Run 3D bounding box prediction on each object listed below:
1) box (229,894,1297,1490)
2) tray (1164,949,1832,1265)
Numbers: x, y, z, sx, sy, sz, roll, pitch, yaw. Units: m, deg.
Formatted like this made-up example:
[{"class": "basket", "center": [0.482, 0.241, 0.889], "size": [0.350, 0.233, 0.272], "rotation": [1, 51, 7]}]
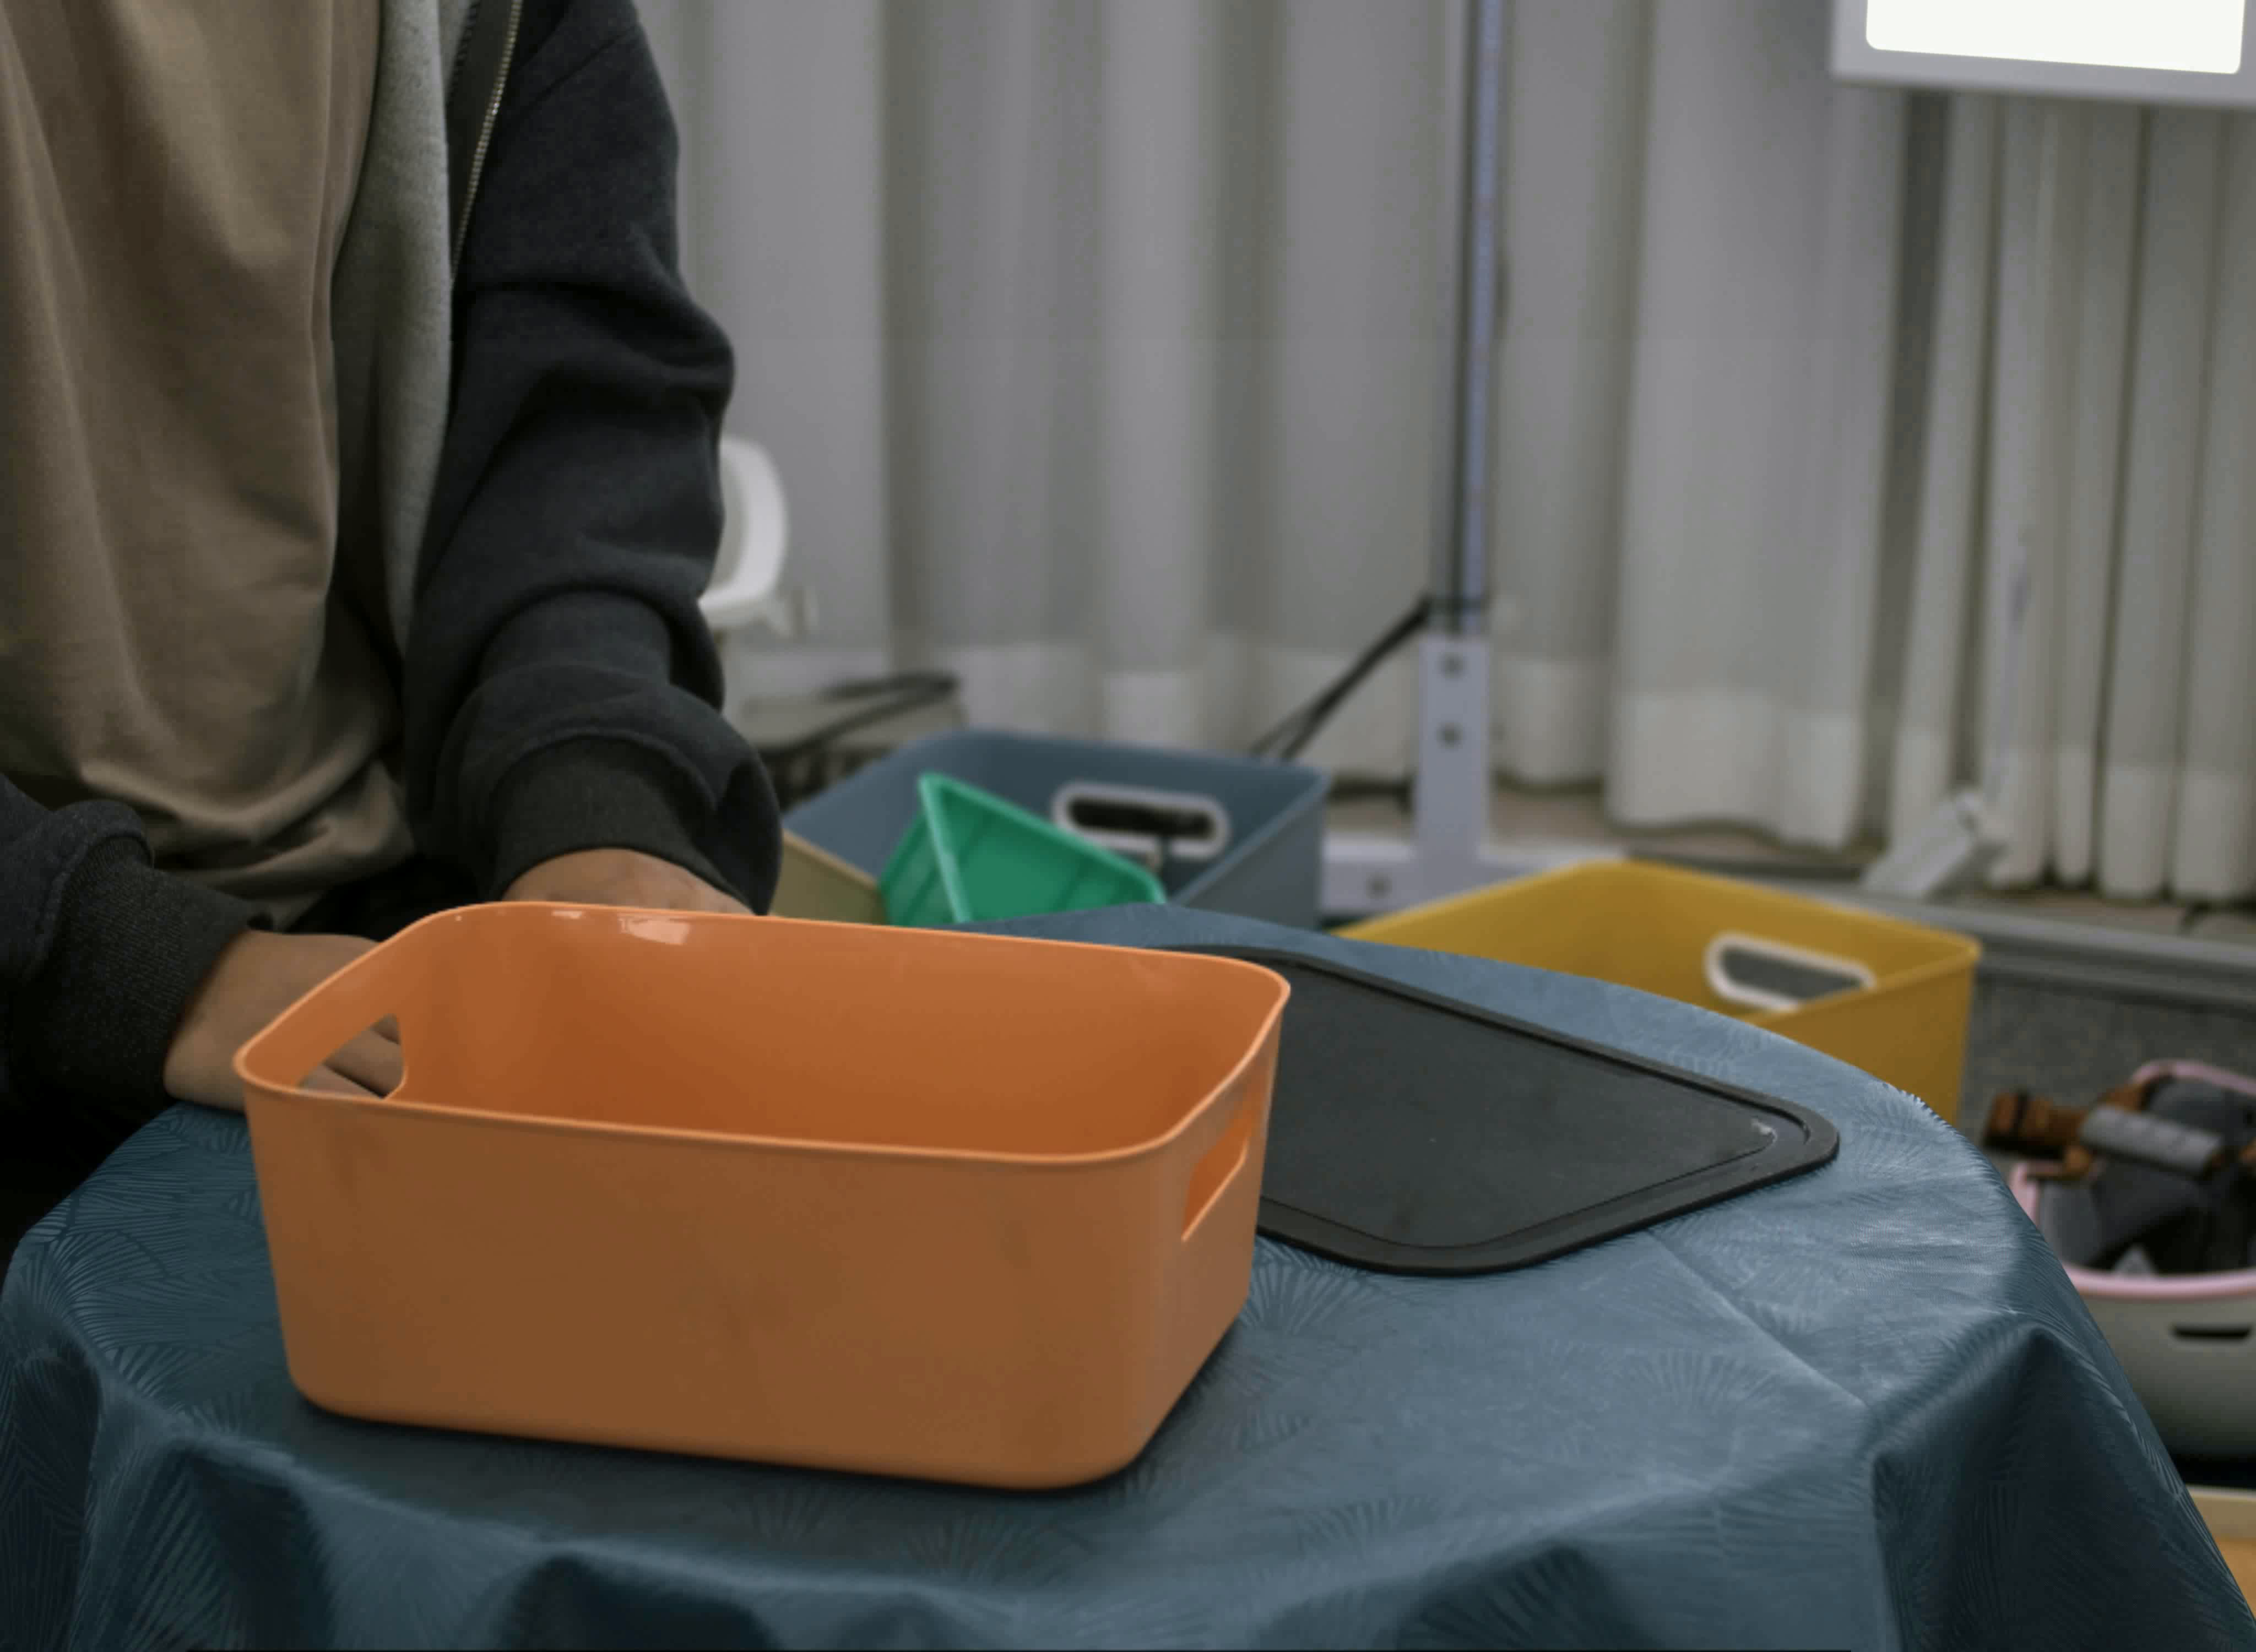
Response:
[{"class": "box", "center": [-0.097, 0.099, 1.470], "size": [0.271, 0.103, 0.199], "rotation": [5, 16, 13]}, {"class": "tray", "center": [0.055, 0.085, 1.712], "size": [0.212, 0.010, 0.321], "rotation": [-13, 21, -42]}]
